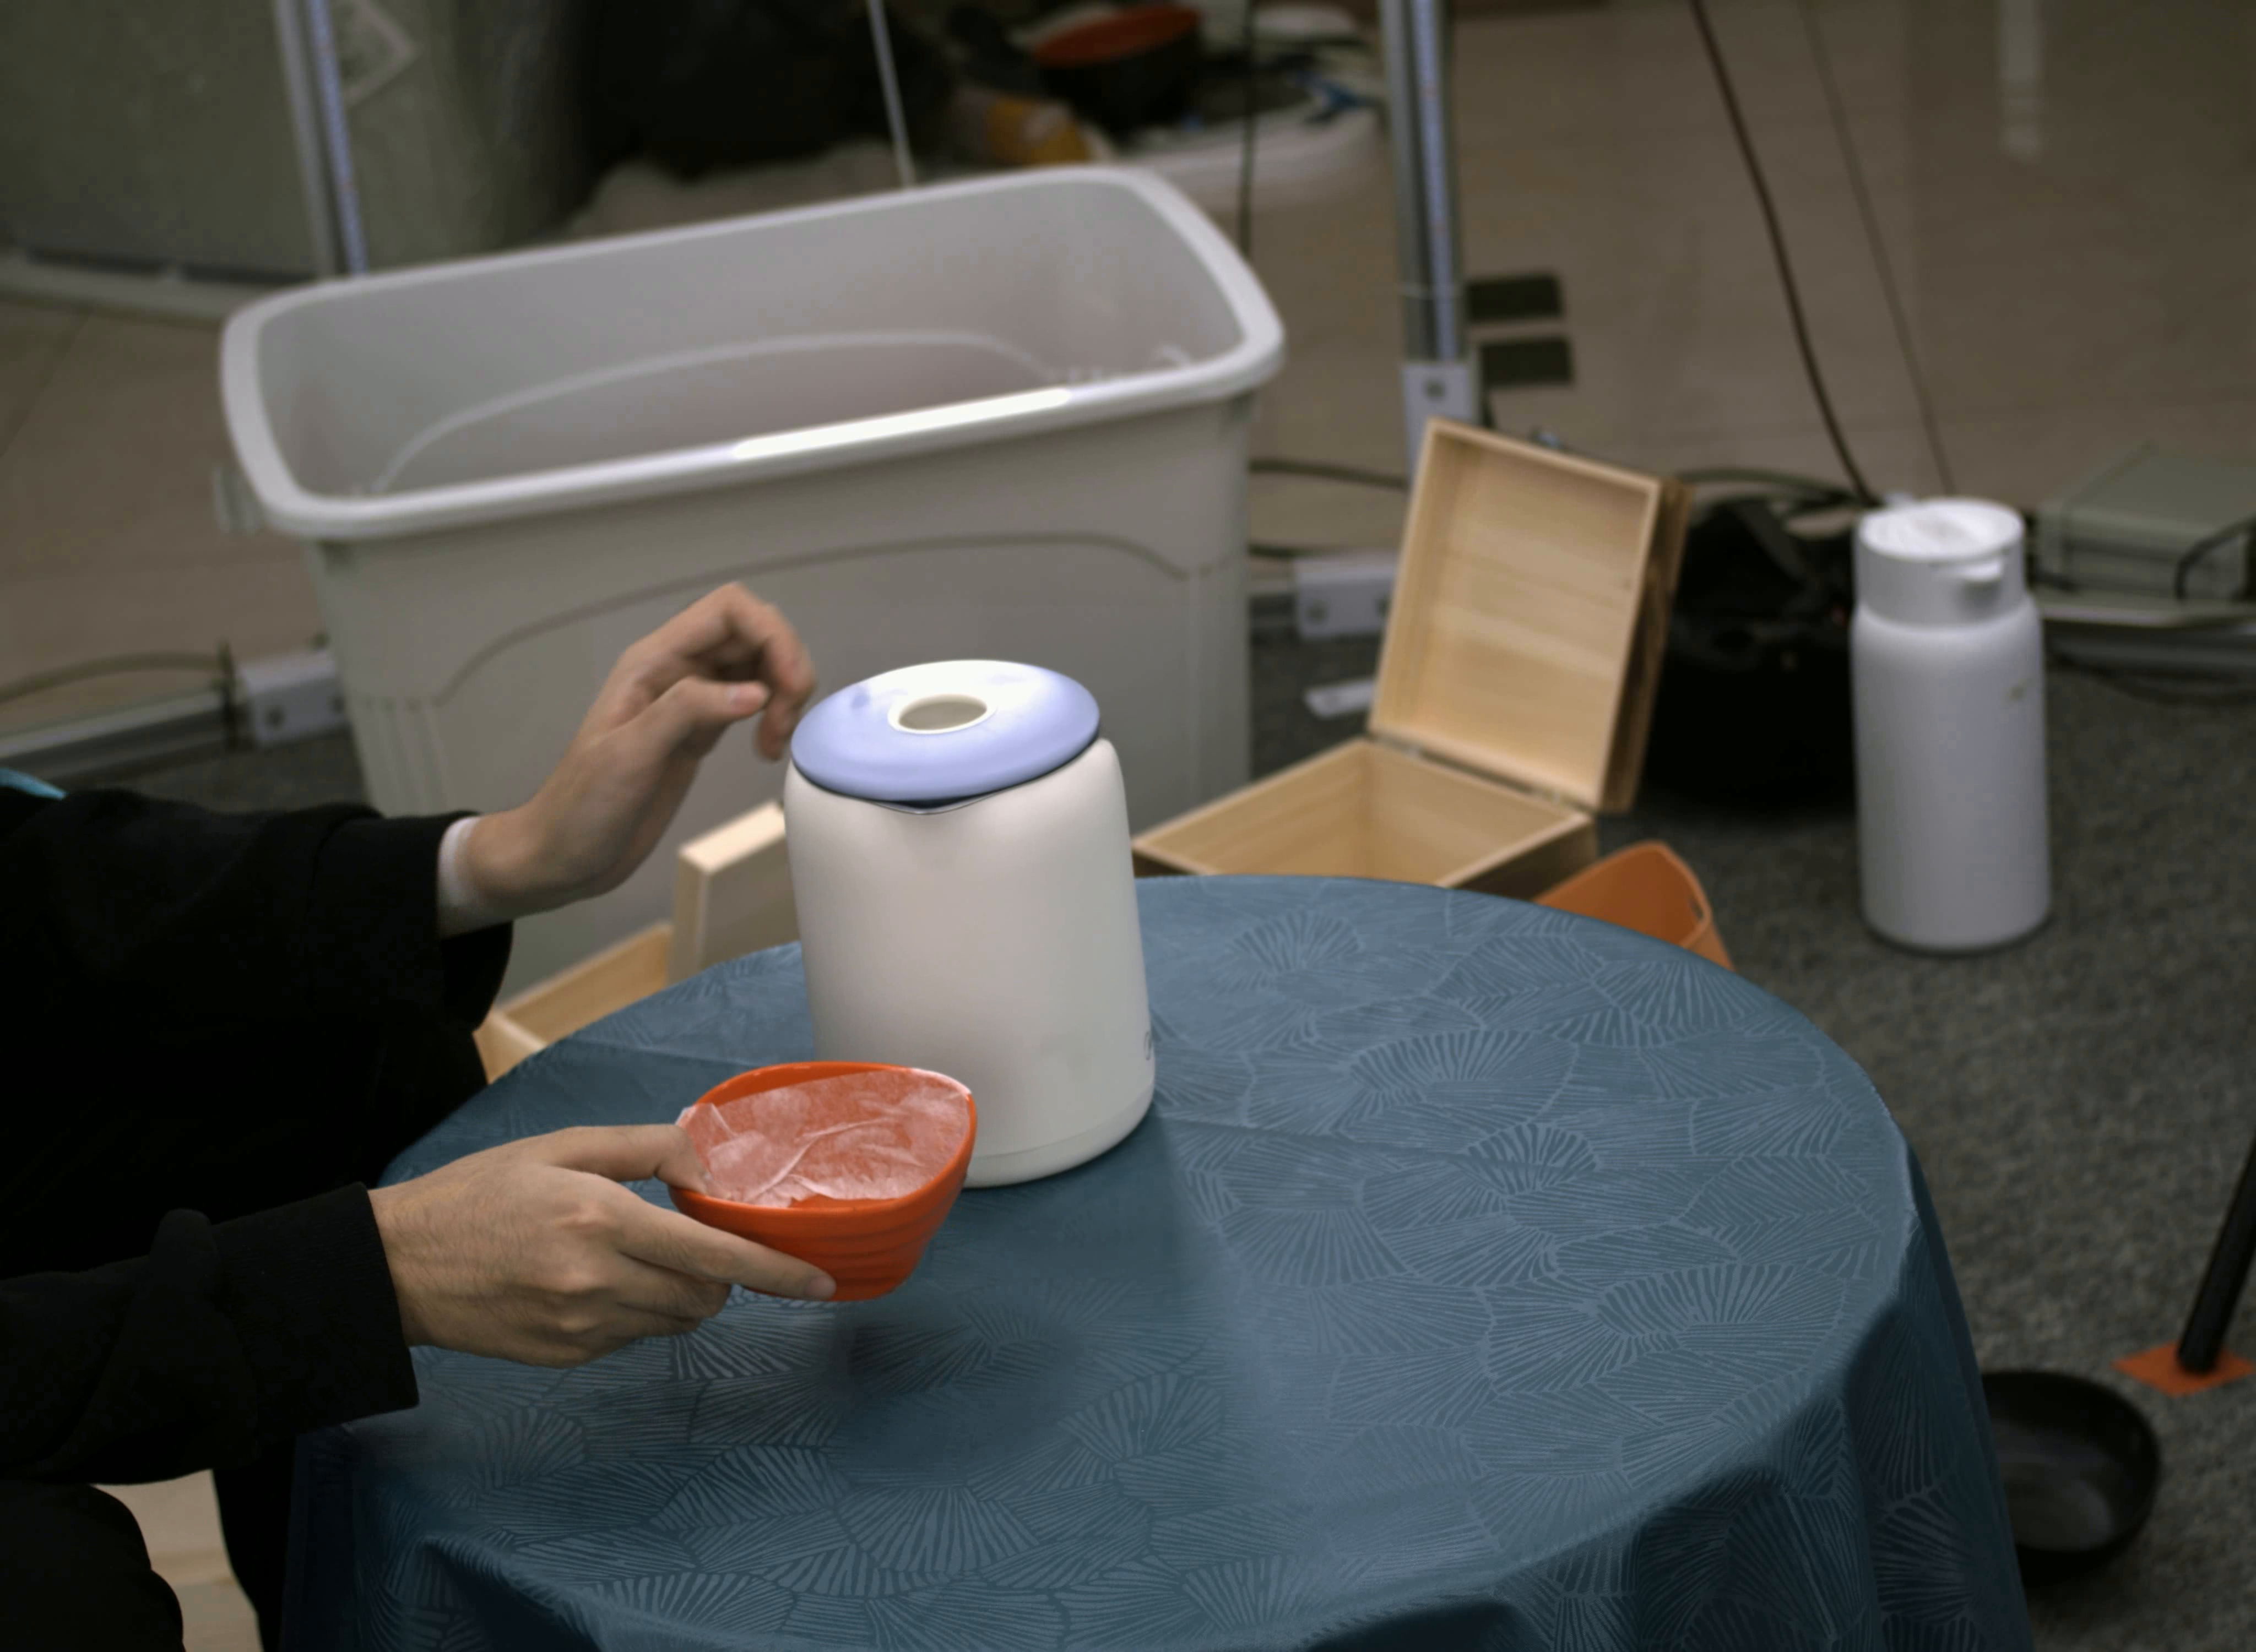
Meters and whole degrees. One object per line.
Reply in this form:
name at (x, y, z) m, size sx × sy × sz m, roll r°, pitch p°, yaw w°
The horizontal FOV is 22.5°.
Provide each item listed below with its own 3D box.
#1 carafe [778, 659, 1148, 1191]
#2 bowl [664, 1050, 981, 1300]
carafe at (-0.062, 0.028, 2.194) m, size 0.132 × 0.185 × 0.188 m, roll -3°, pitch 23°, yaw 3°
bowl at (-0.108, 0.130, 2.037) m, size 0.119 × 0.052 × 0.117 m, roll -1°, pitch 30°, yaw 1°
